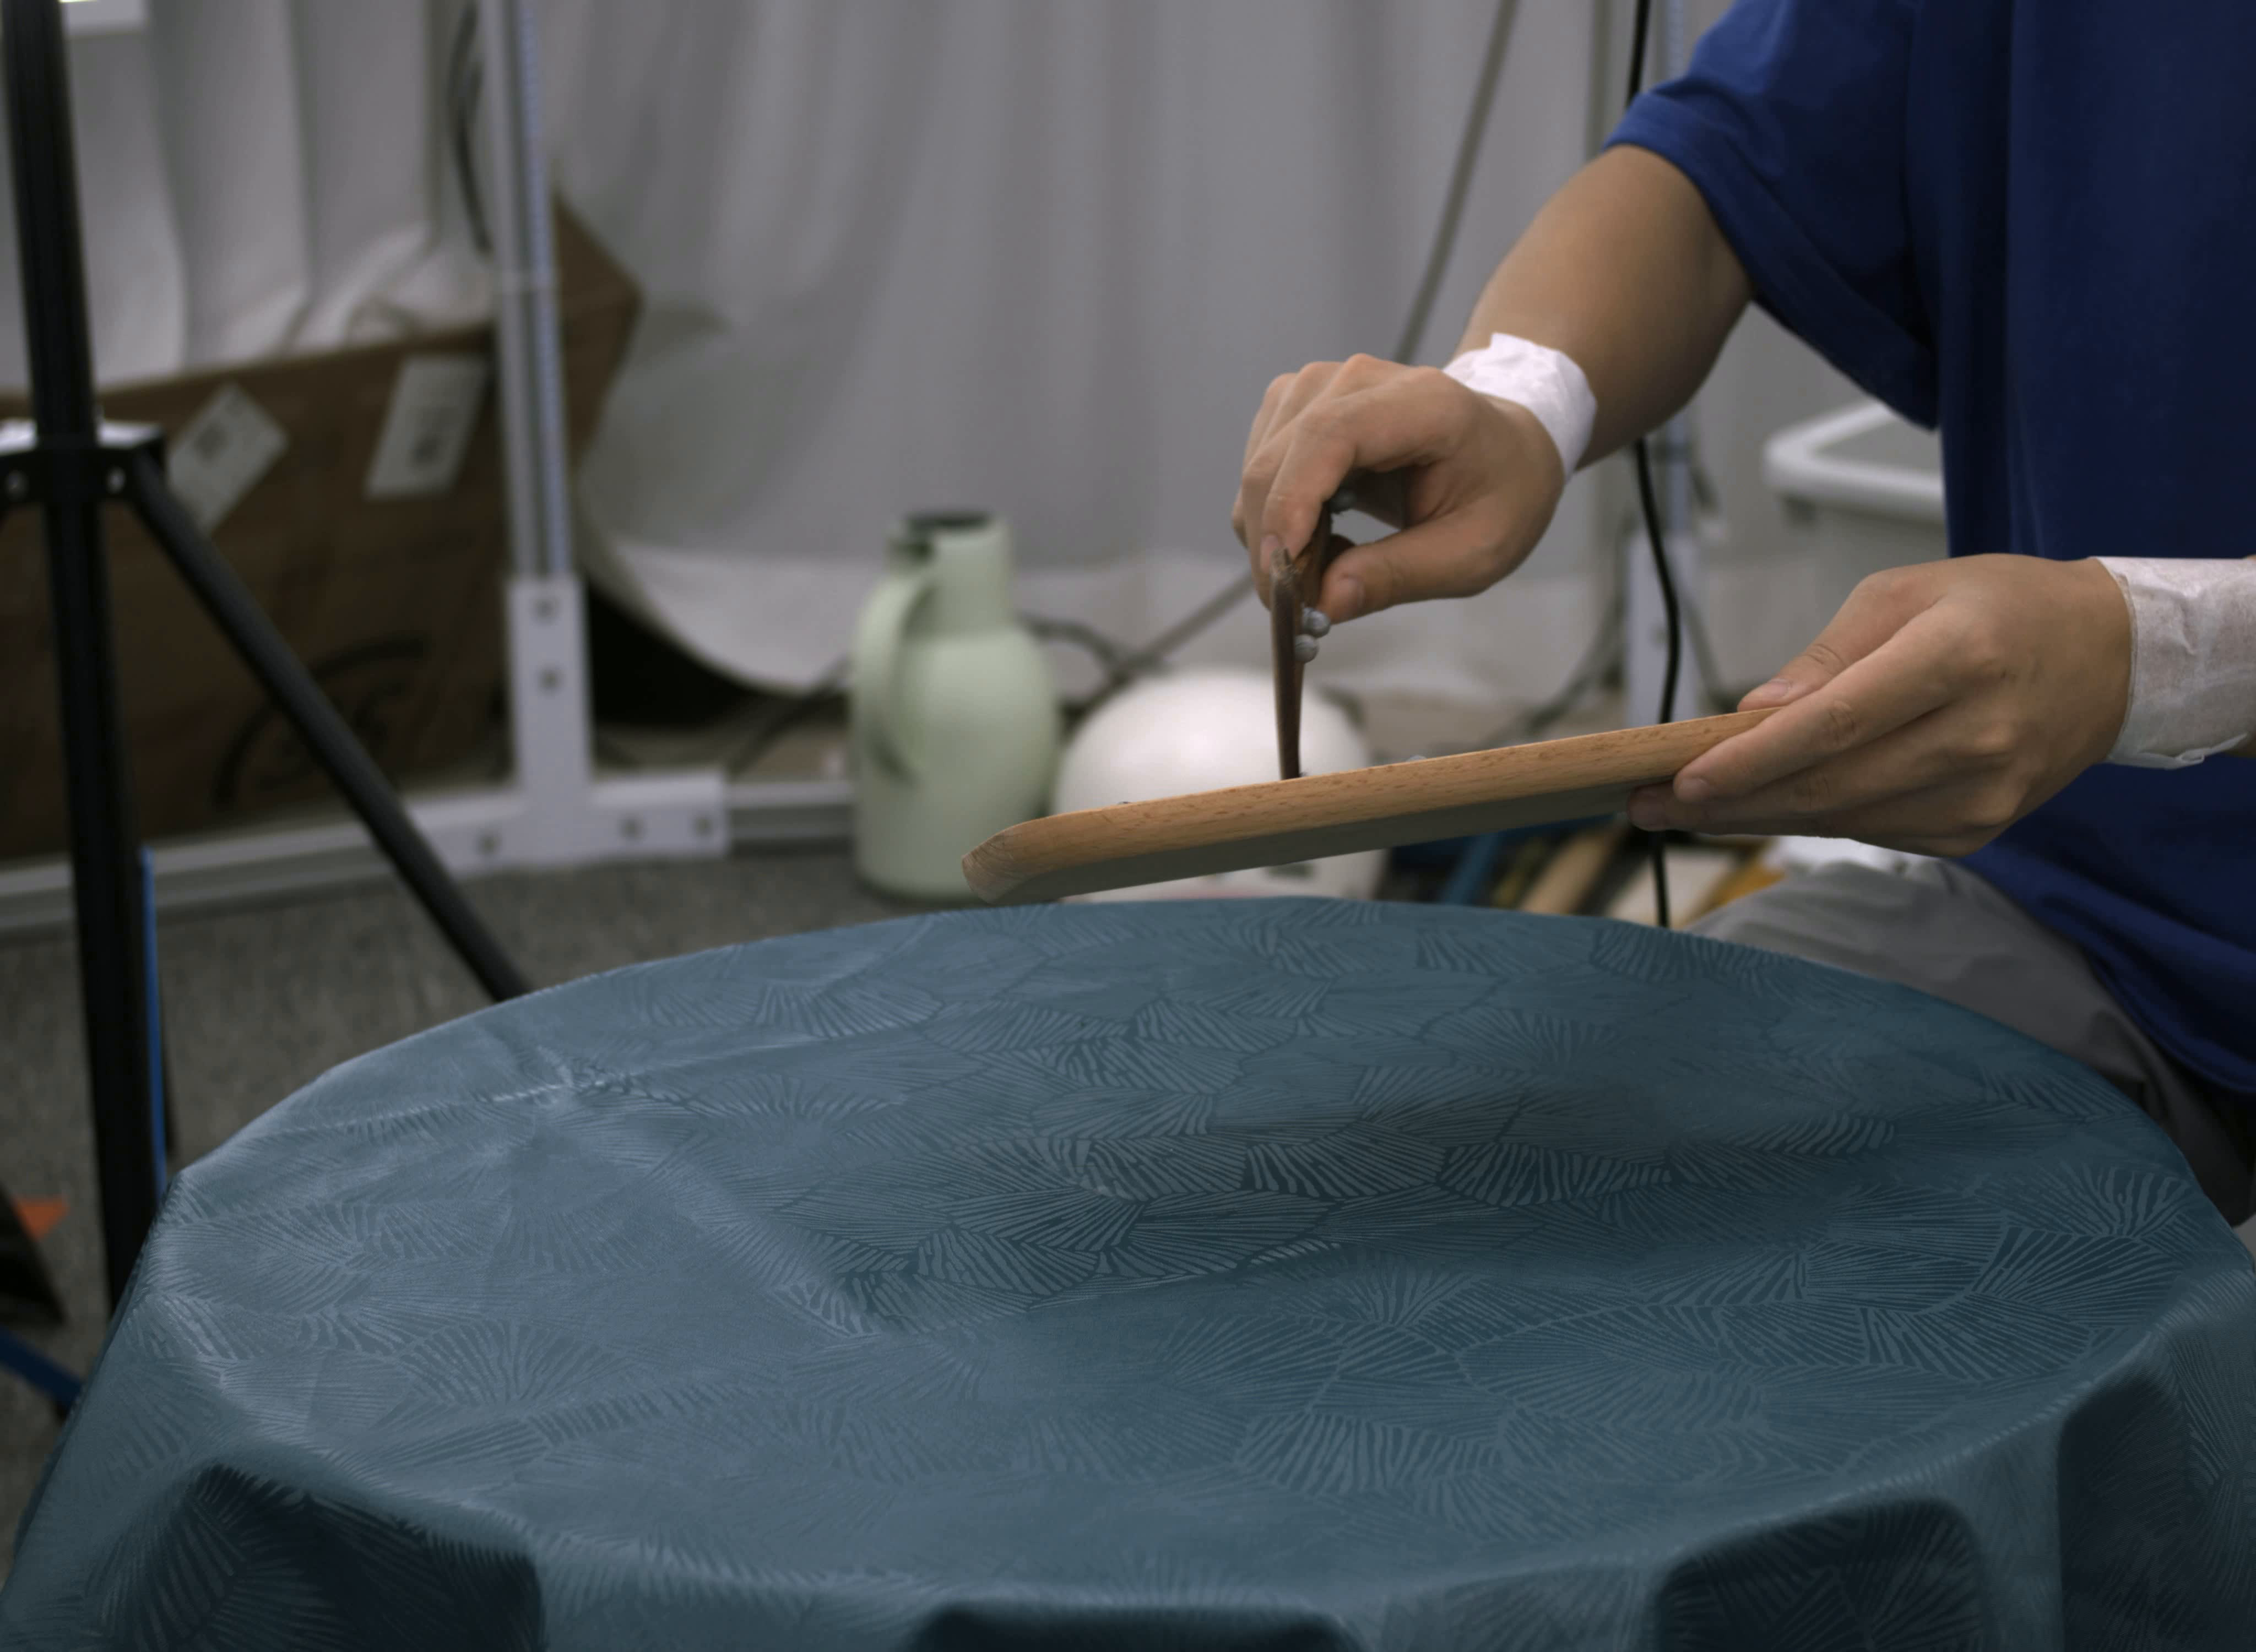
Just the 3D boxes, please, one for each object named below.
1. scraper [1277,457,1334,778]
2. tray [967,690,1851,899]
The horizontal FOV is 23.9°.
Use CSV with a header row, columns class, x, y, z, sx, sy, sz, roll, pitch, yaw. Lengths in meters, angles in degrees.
class,x,y,z,sx,sy,sz,roll,pitch,yaw
scraper,0.054,-0.071,1.613,0.011,0.076,0.211,-1,20,6
tray,0.081,-0.008,1.545,0.248,0.023,0.131,-8,-2,-9
